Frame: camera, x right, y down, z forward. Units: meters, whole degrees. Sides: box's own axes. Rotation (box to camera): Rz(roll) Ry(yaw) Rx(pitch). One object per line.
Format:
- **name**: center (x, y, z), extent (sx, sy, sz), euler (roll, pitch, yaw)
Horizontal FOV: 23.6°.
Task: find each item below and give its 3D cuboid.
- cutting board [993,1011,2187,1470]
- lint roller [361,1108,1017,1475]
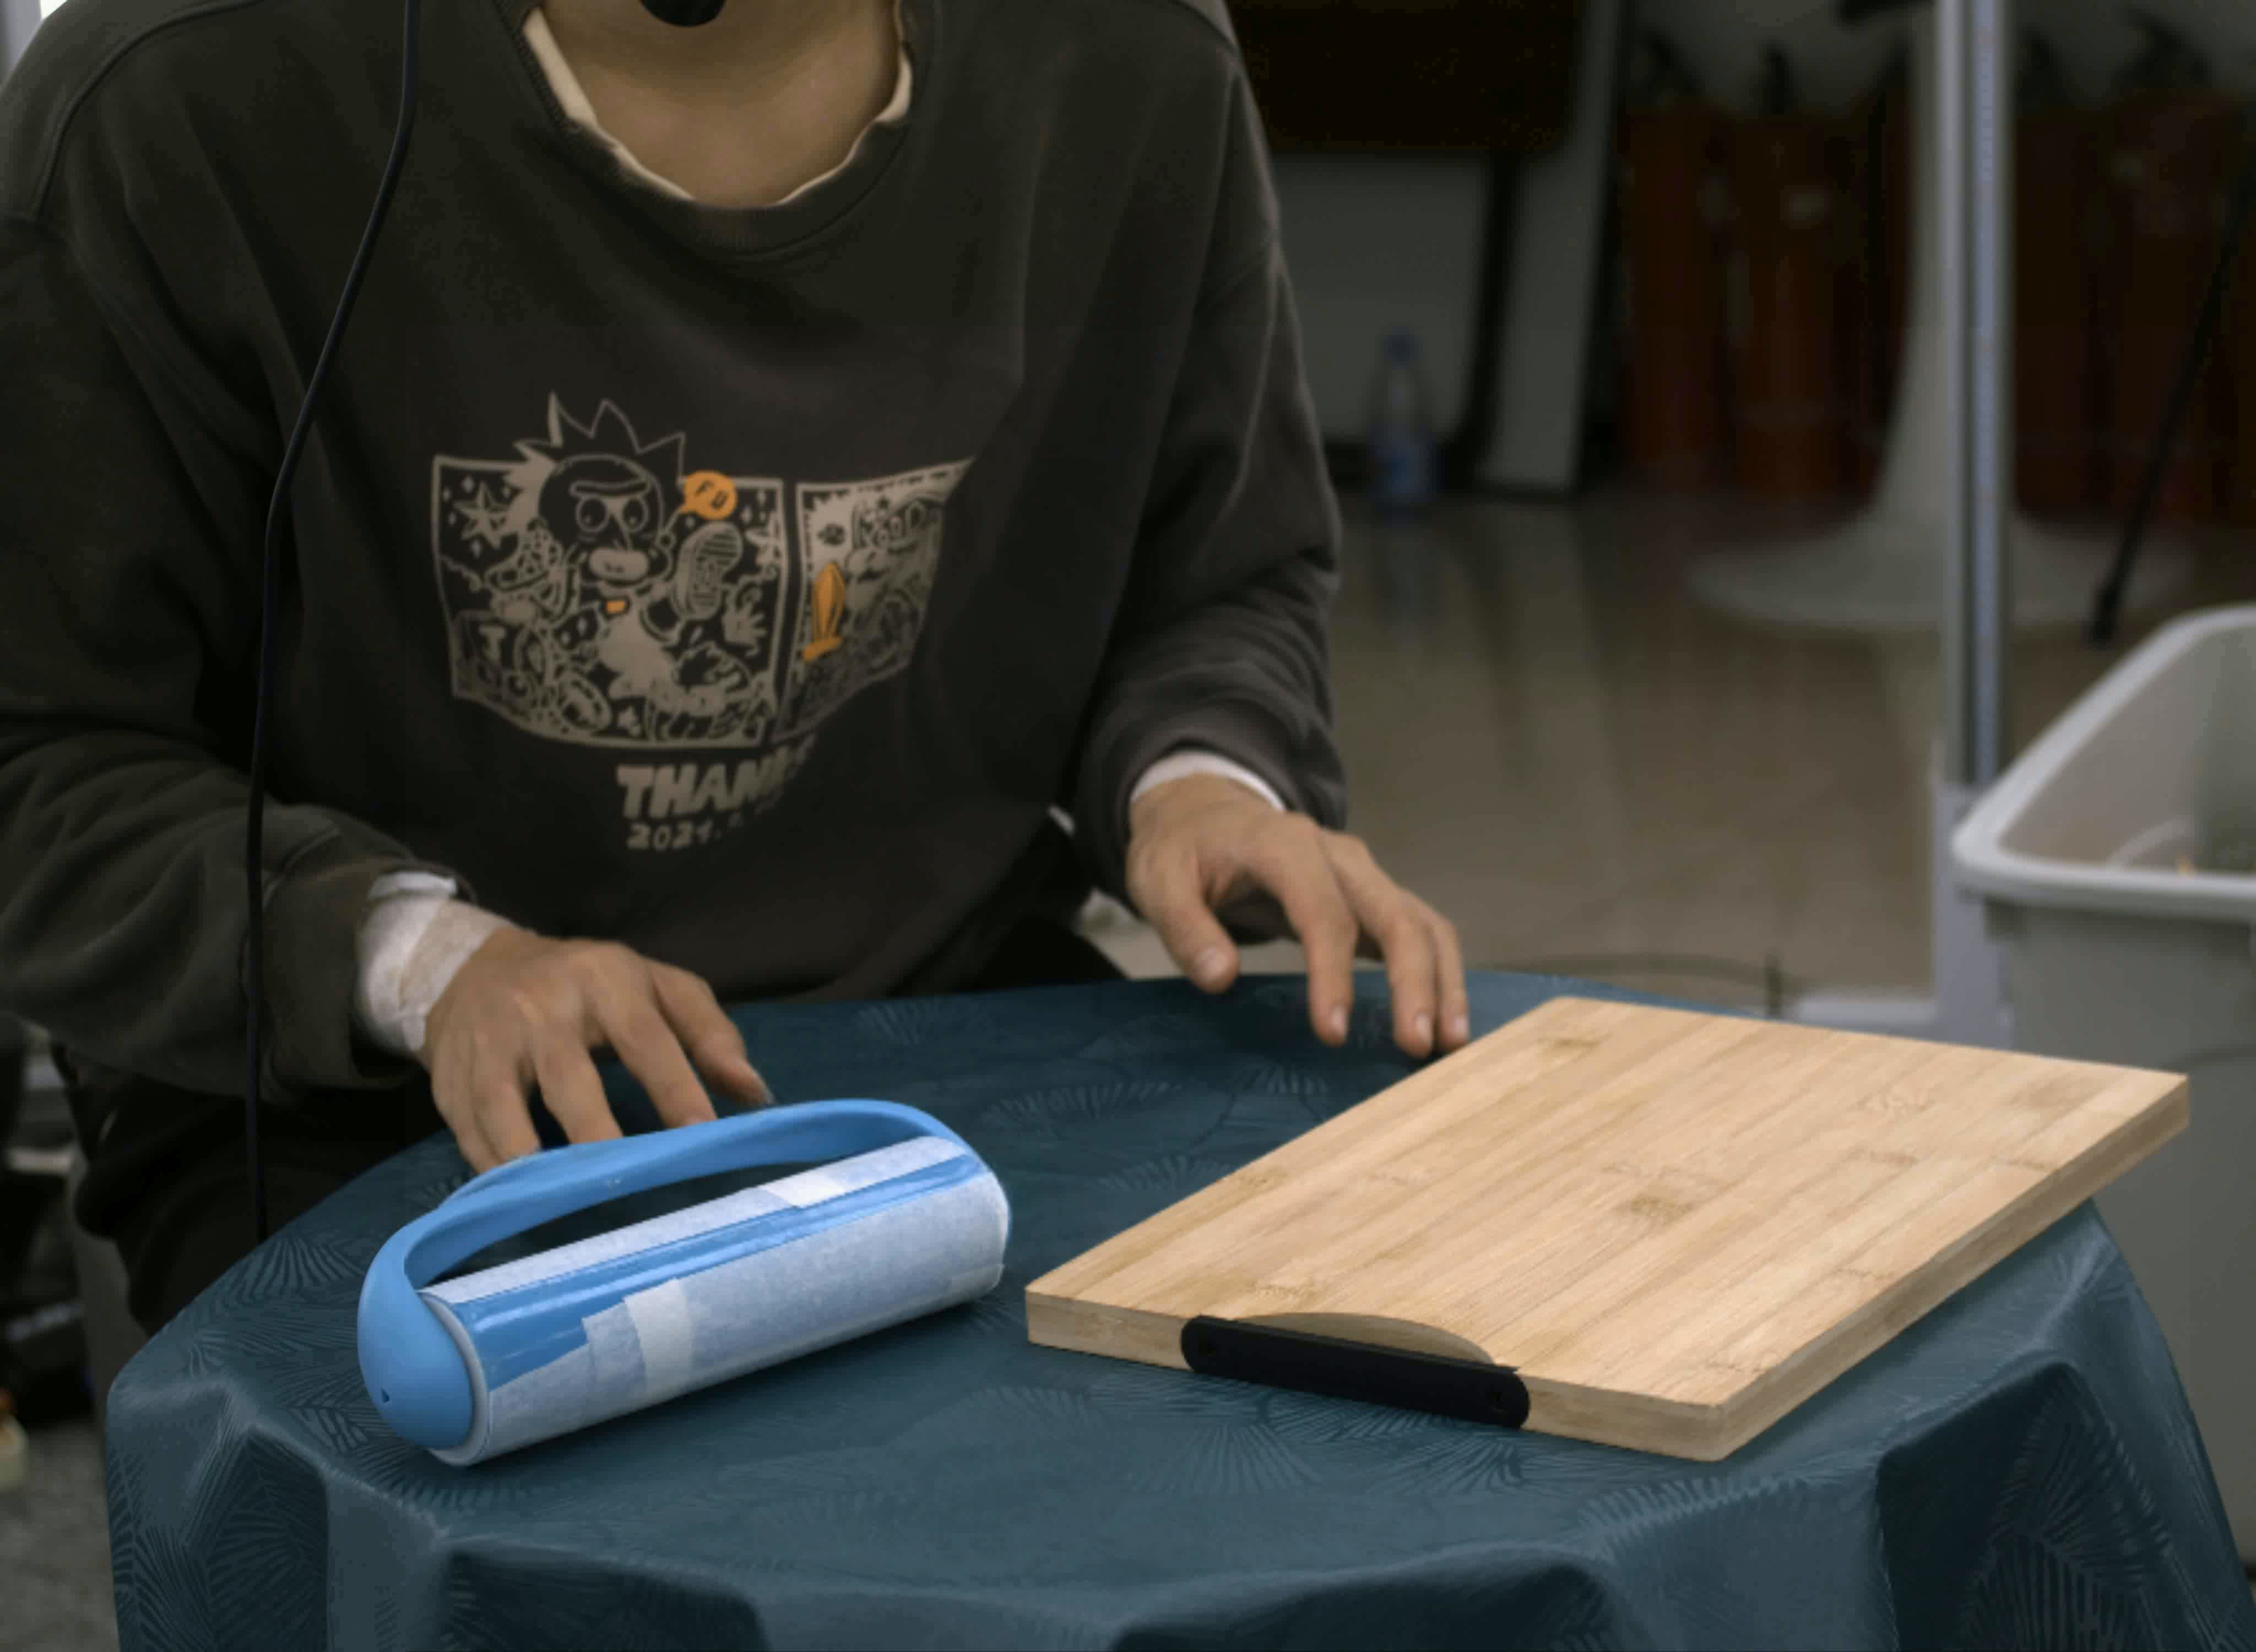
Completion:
- **cutting board**: center (0.154, 0.123, 1.691), extent (0.252, 0.024, 0.343), euler (4, 16, 34)
- **lint roller**: center (-0.165, 0.132, 1.660), extent (0.224, 0.068, 0.182), euler (-17, 20, -39)
